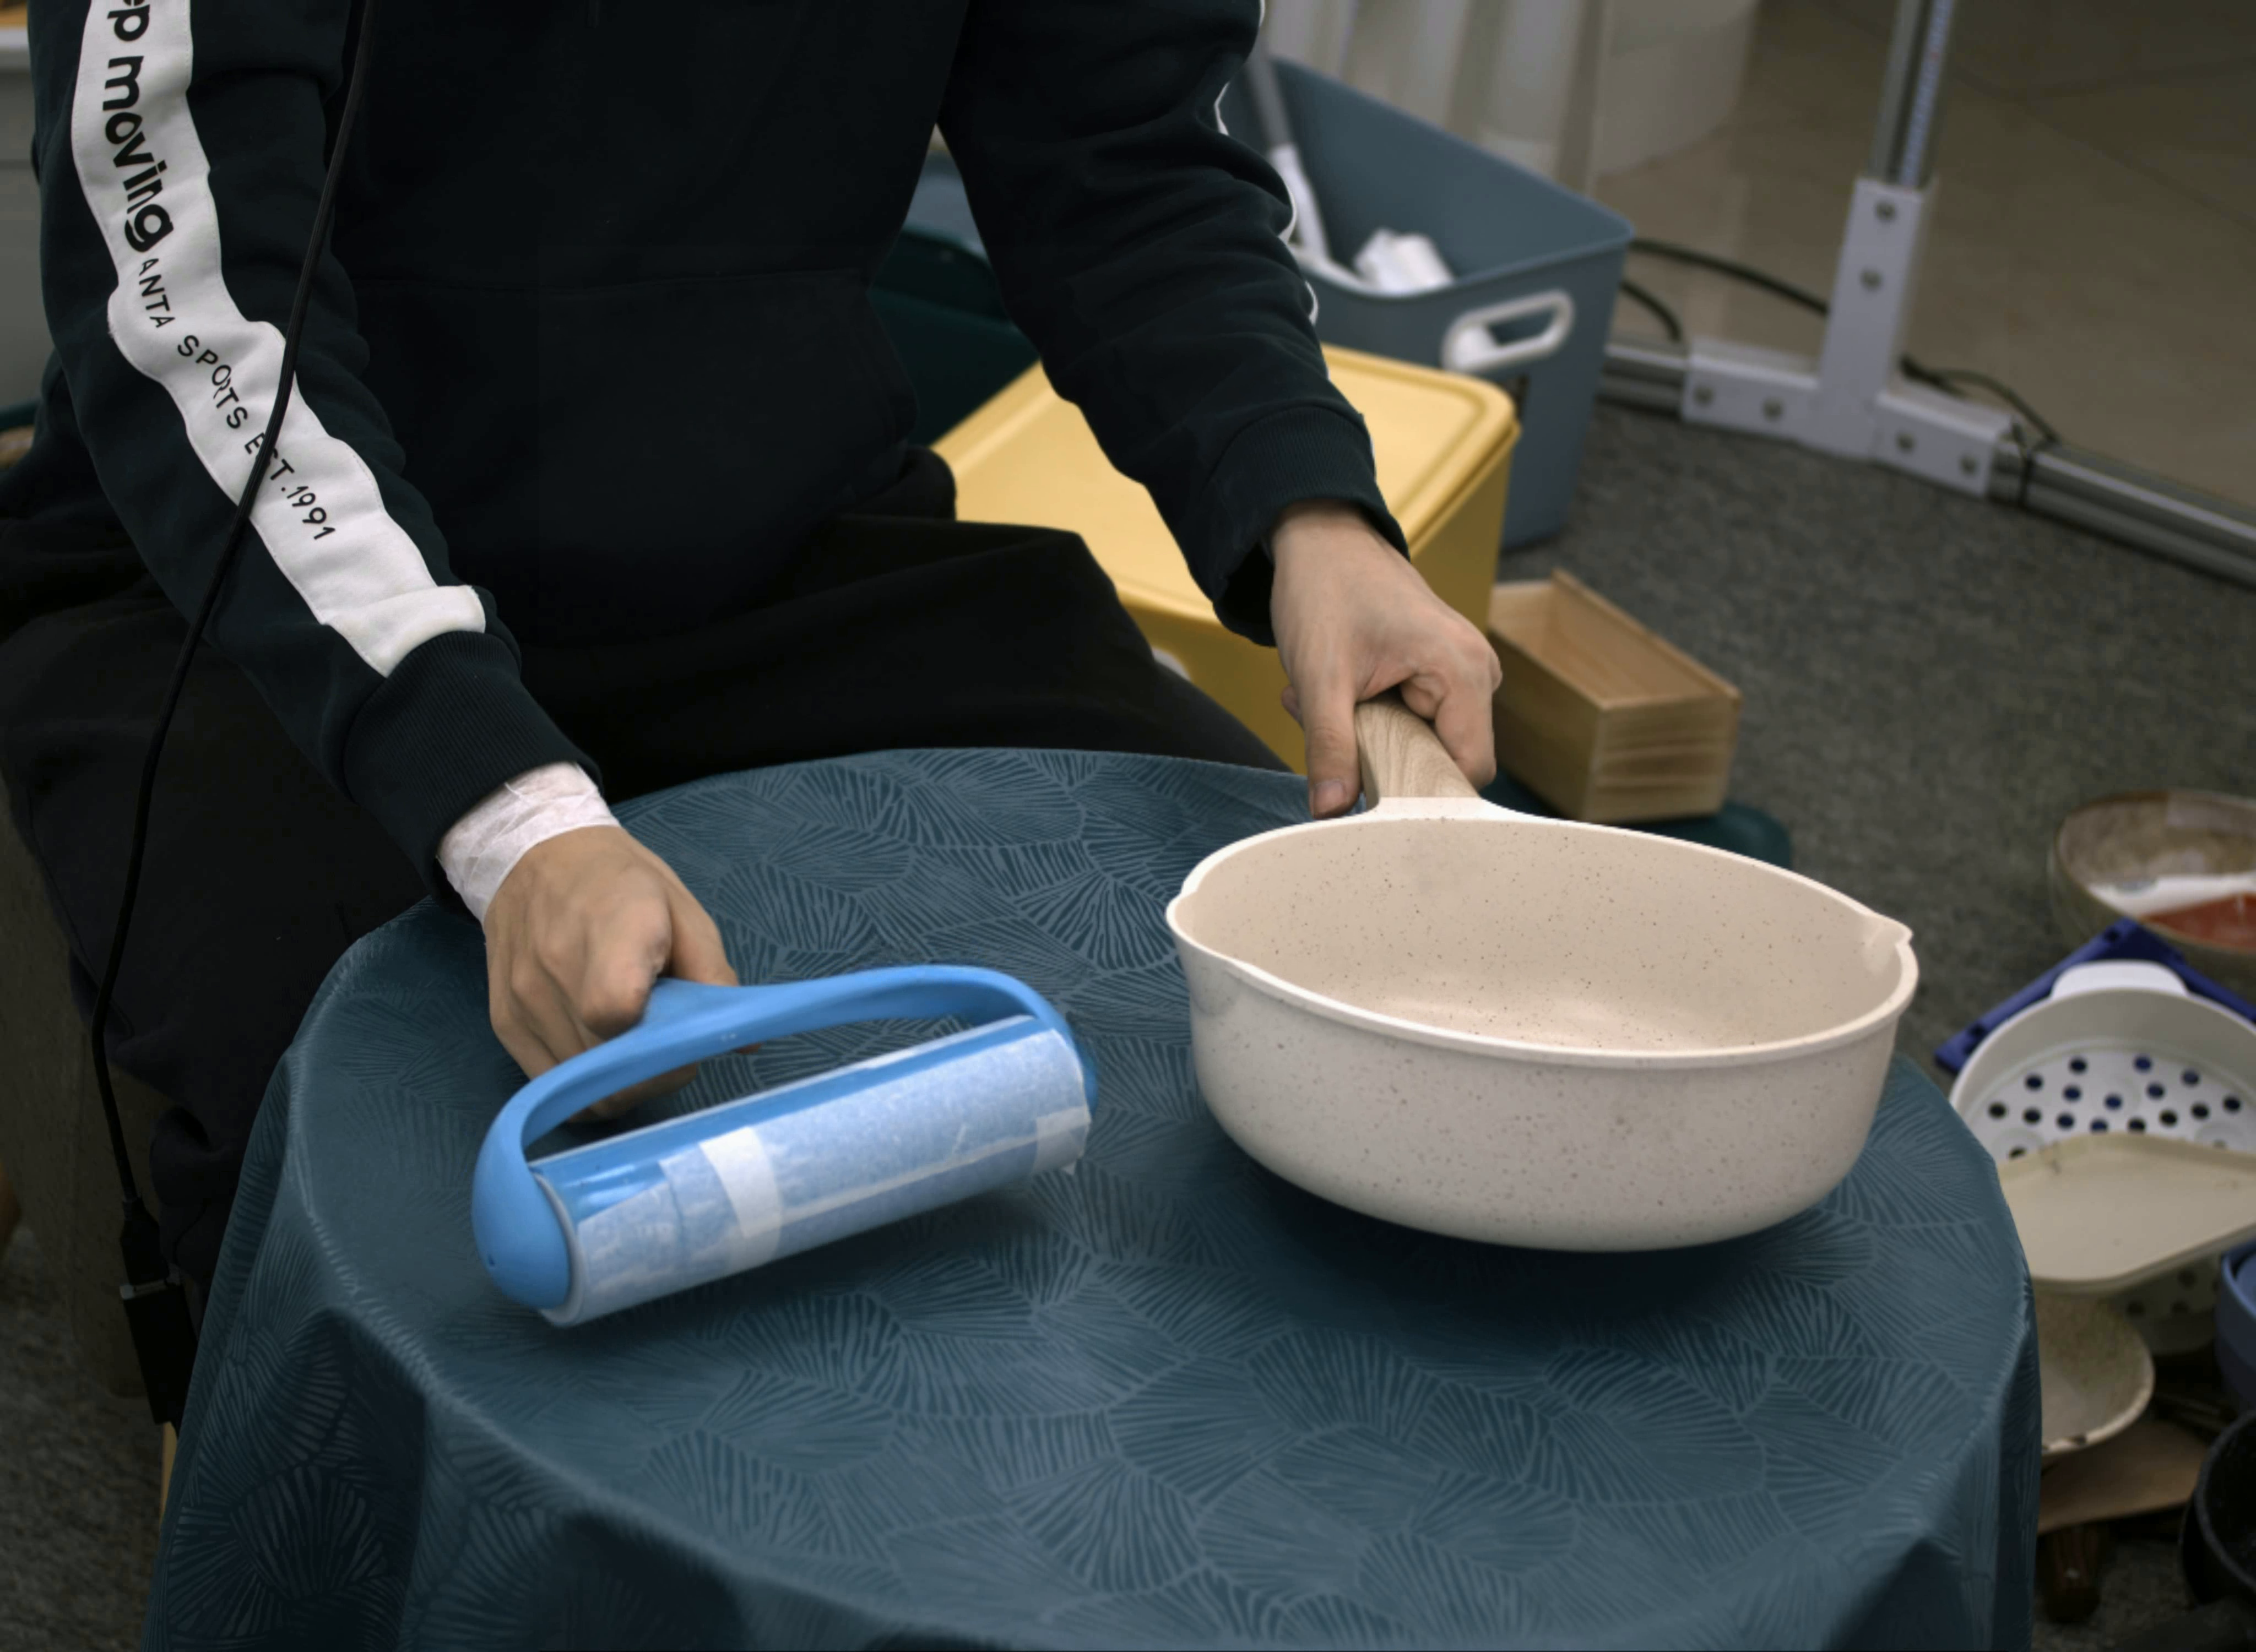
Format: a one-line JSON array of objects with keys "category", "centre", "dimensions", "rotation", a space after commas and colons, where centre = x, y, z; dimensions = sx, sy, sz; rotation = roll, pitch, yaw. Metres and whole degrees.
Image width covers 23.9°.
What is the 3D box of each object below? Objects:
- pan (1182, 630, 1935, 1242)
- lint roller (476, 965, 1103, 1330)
[{"category": "pan", "centre": [0.122, 0.036, 1.891], "dimensions": [0.262, 0.102, 0.438], "rotation": [-1, 17, -14]}, {"category": "lint roller", "centre": [-0.142, 0.086, 1.760], "dimensions": [0.228, 0.067, 0.182], "rotation": [-19, 34, -33]}]
